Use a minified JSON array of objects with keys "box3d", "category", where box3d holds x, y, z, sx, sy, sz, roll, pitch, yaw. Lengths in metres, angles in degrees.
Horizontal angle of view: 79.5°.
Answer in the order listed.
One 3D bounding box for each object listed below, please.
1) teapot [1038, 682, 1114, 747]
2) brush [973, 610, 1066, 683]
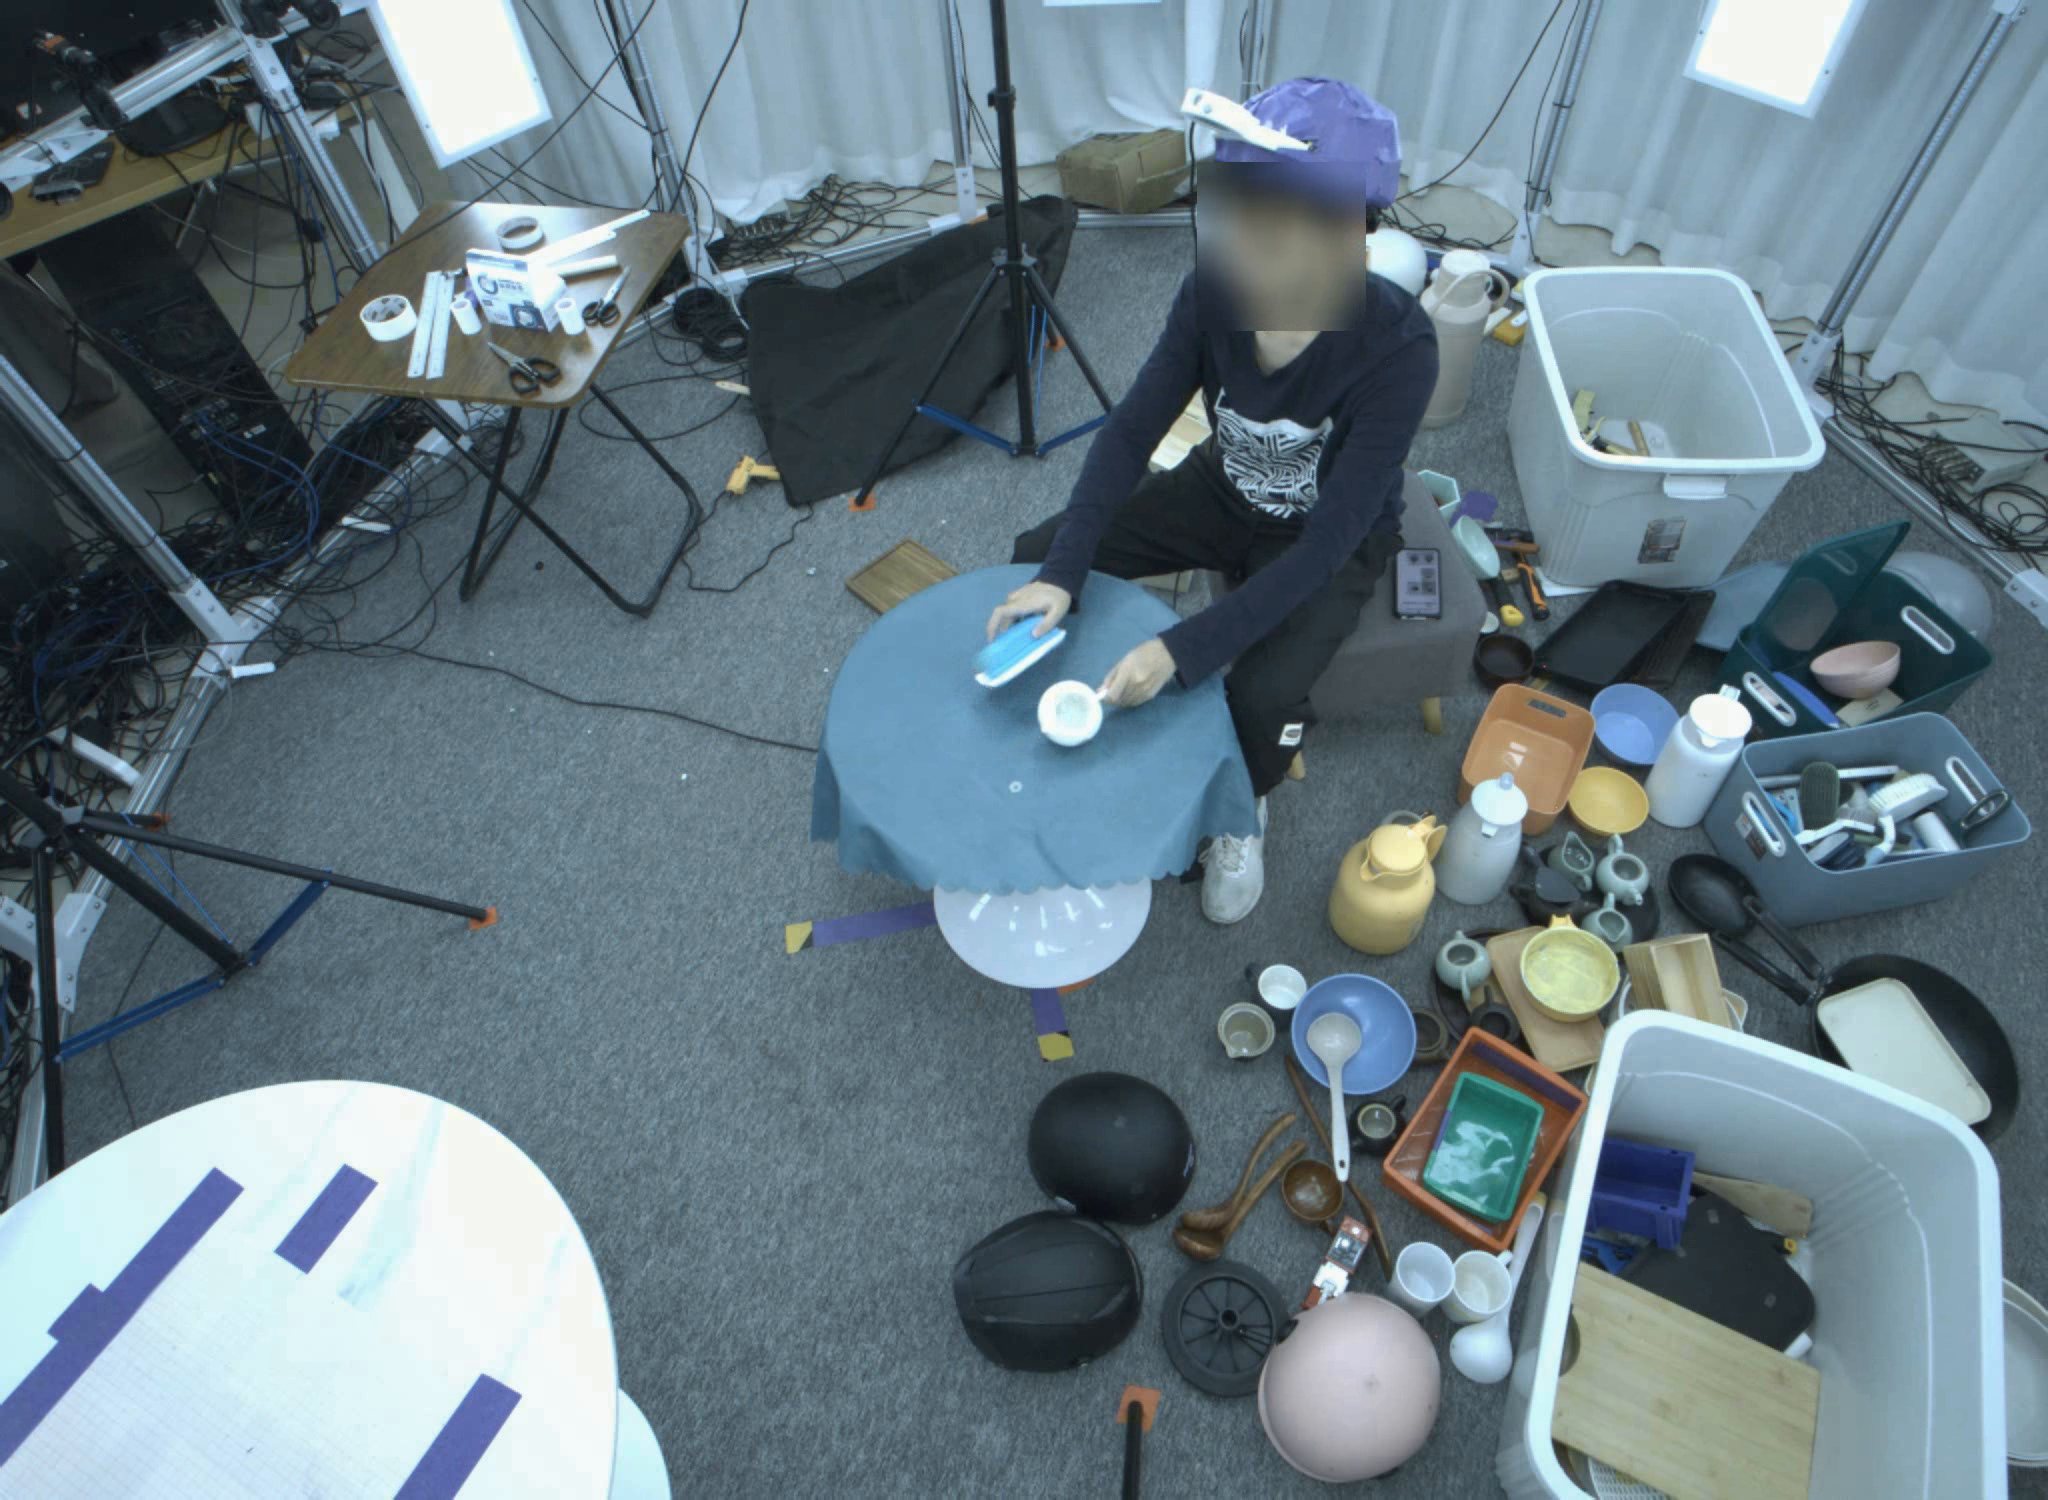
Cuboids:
[{"box3d":[0.075,-0.057,1.761,0.128,0.056,0.093,-37,91,-10],"category":"teapot"},{"box3d":[-0.012,-0.158,1.805,0.144,0.057,0.082,-37,29,-11],"category":"brush"}]
